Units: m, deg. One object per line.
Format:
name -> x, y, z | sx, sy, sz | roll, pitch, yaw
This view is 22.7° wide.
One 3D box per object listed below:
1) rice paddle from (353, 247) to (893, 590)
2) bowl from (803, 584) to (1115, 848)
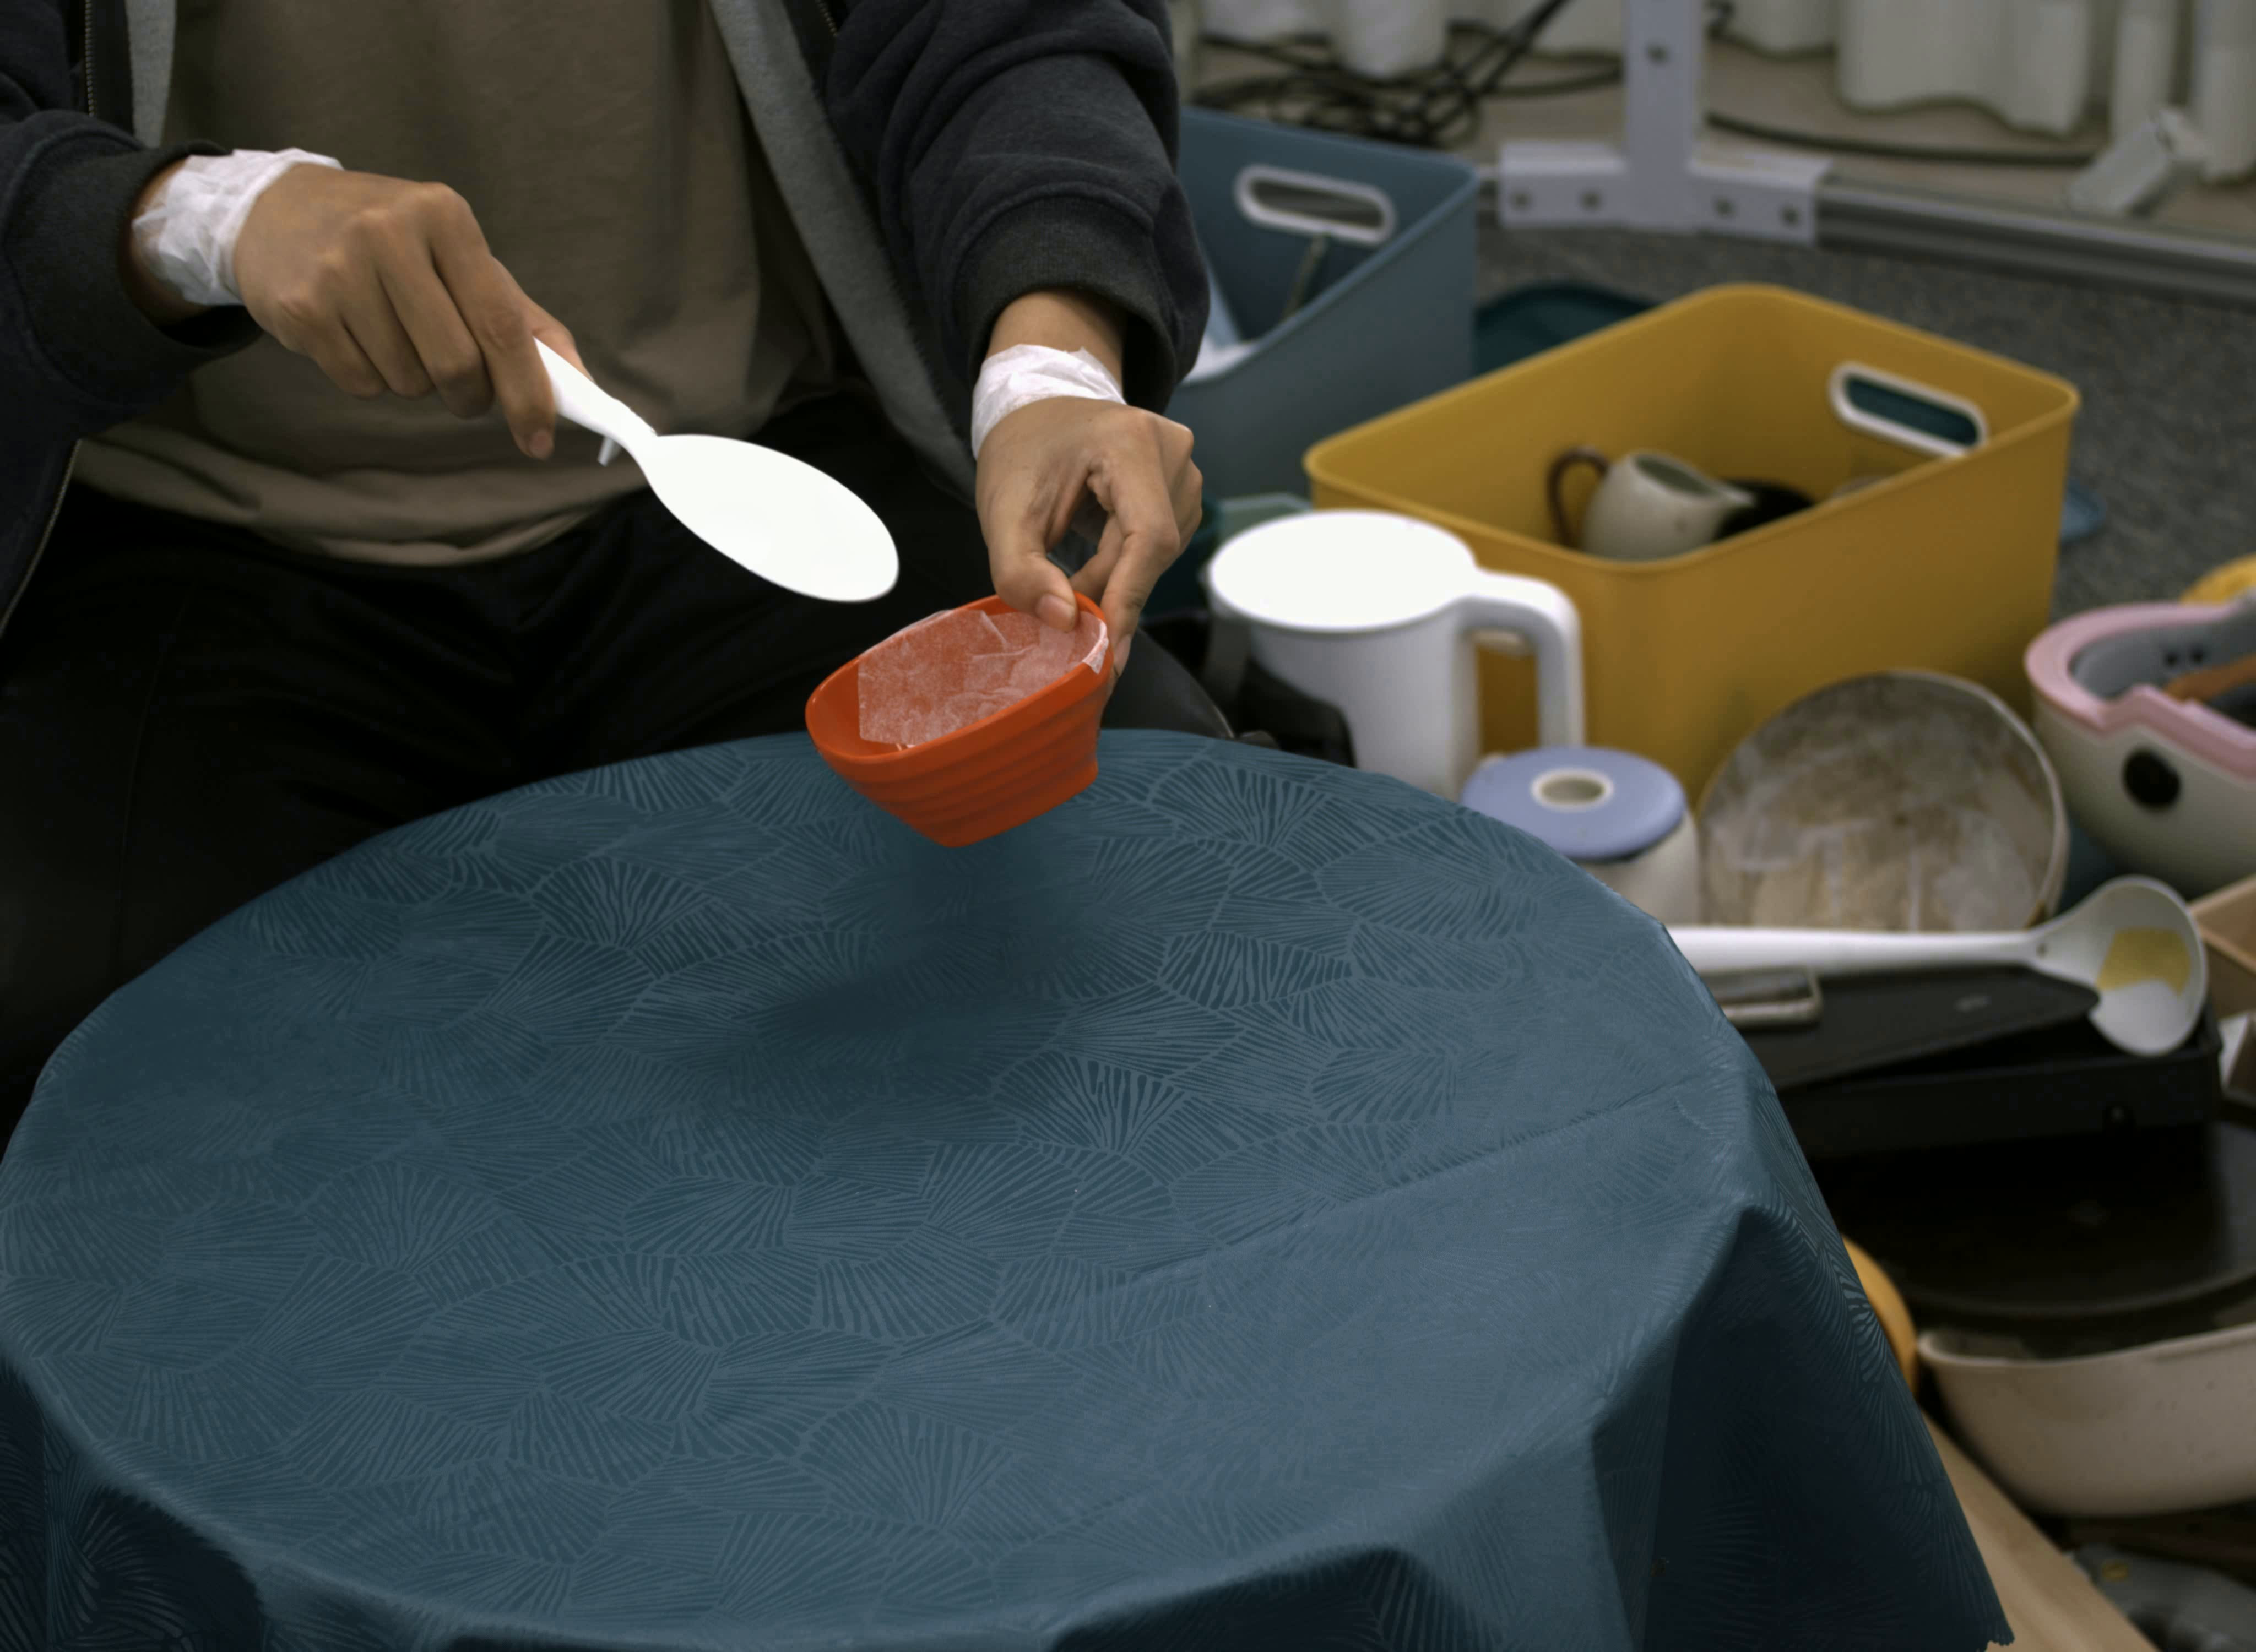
rice paddle -> -0.170, -0.138, 1.935 | 0.205, 0.029, 0.070 | 29, 38, 5
bowl -> -0.052, -0.034, 1.952 | 0.118, 0.051, 0.120 | -18, 24, 8
